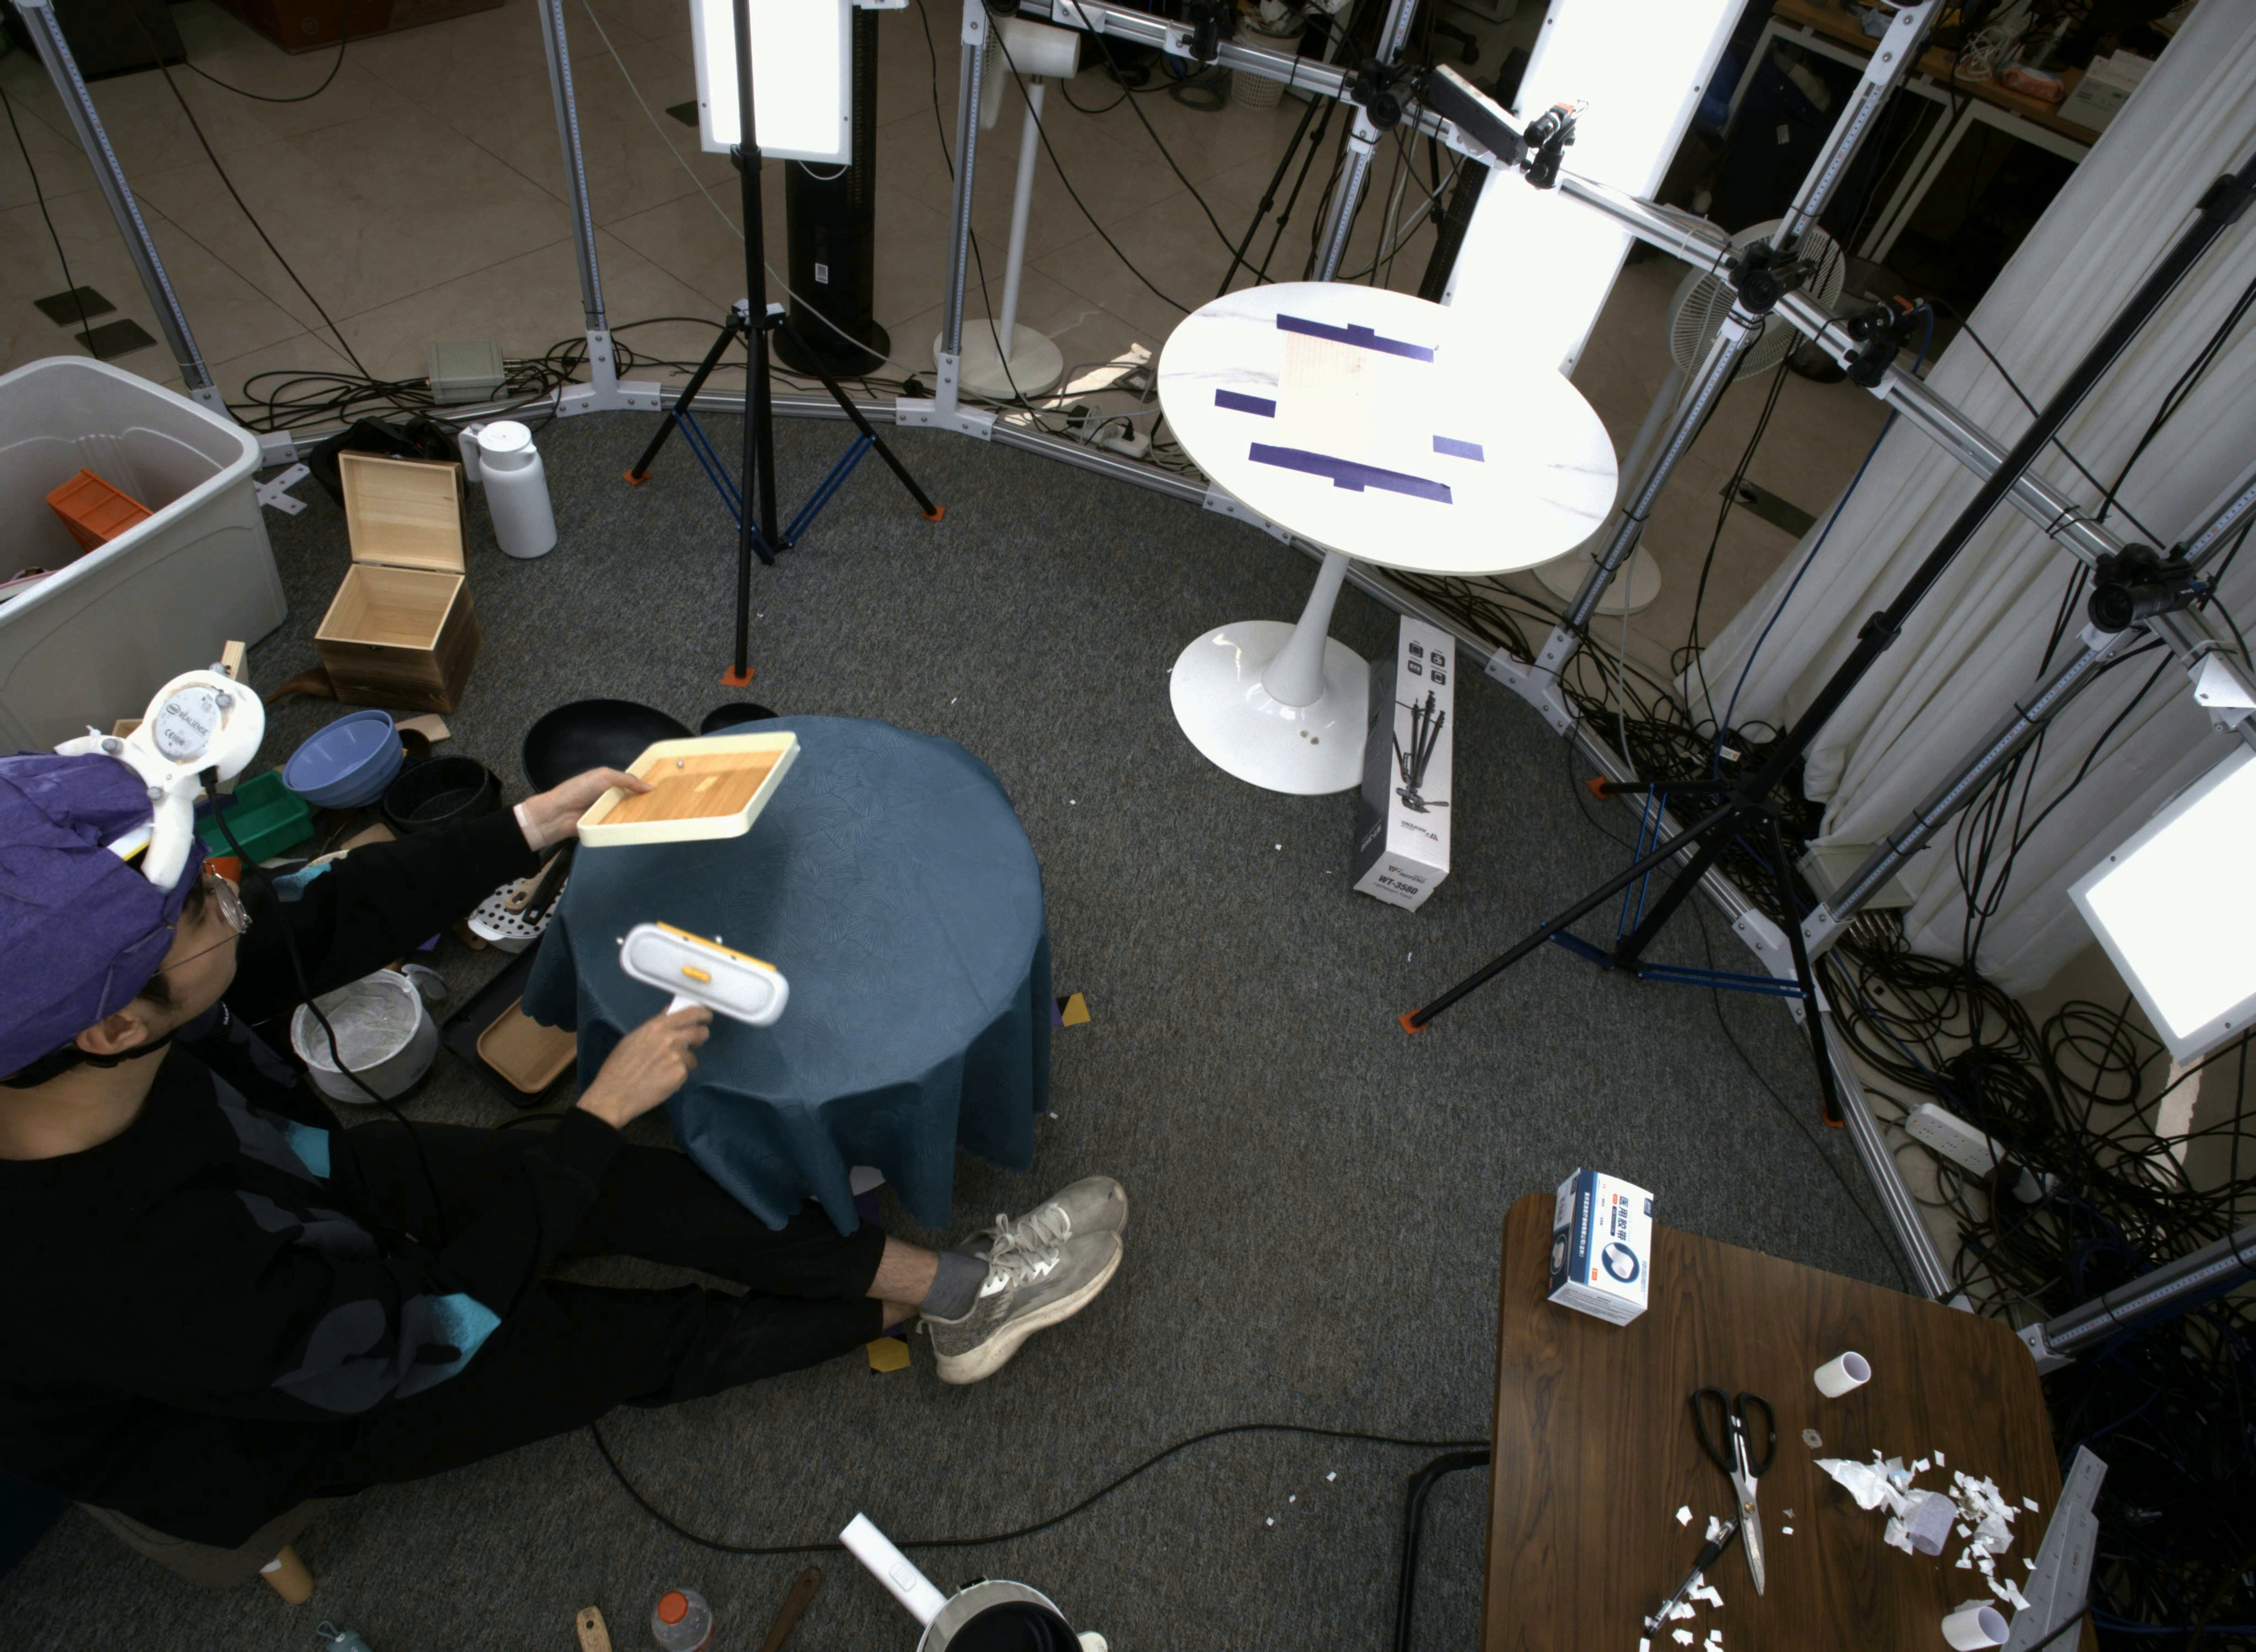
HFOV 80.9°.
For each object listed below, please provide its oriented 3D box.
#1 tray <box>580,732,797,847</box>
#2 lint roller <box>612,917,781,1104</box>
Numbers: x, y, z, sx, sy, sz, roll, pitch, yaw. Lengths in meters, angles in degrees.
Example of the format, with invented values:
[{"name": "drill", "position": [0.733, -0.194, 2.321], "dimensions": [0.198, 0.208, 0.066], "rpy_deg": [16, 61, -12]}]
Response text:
[{"name": "tray", "position": [-0.515, -0.049, 1.525], "dimensions": [0.189, 0.028, 0.295], "rpy_deg": [-4, 21, 0]}, {"name": "lint roller", "position": [-0.500, 0.211, 1.429], "dimensions": [0.194, 0.074, 0.192], "rpy_deg": [20, 75, -12]}]
